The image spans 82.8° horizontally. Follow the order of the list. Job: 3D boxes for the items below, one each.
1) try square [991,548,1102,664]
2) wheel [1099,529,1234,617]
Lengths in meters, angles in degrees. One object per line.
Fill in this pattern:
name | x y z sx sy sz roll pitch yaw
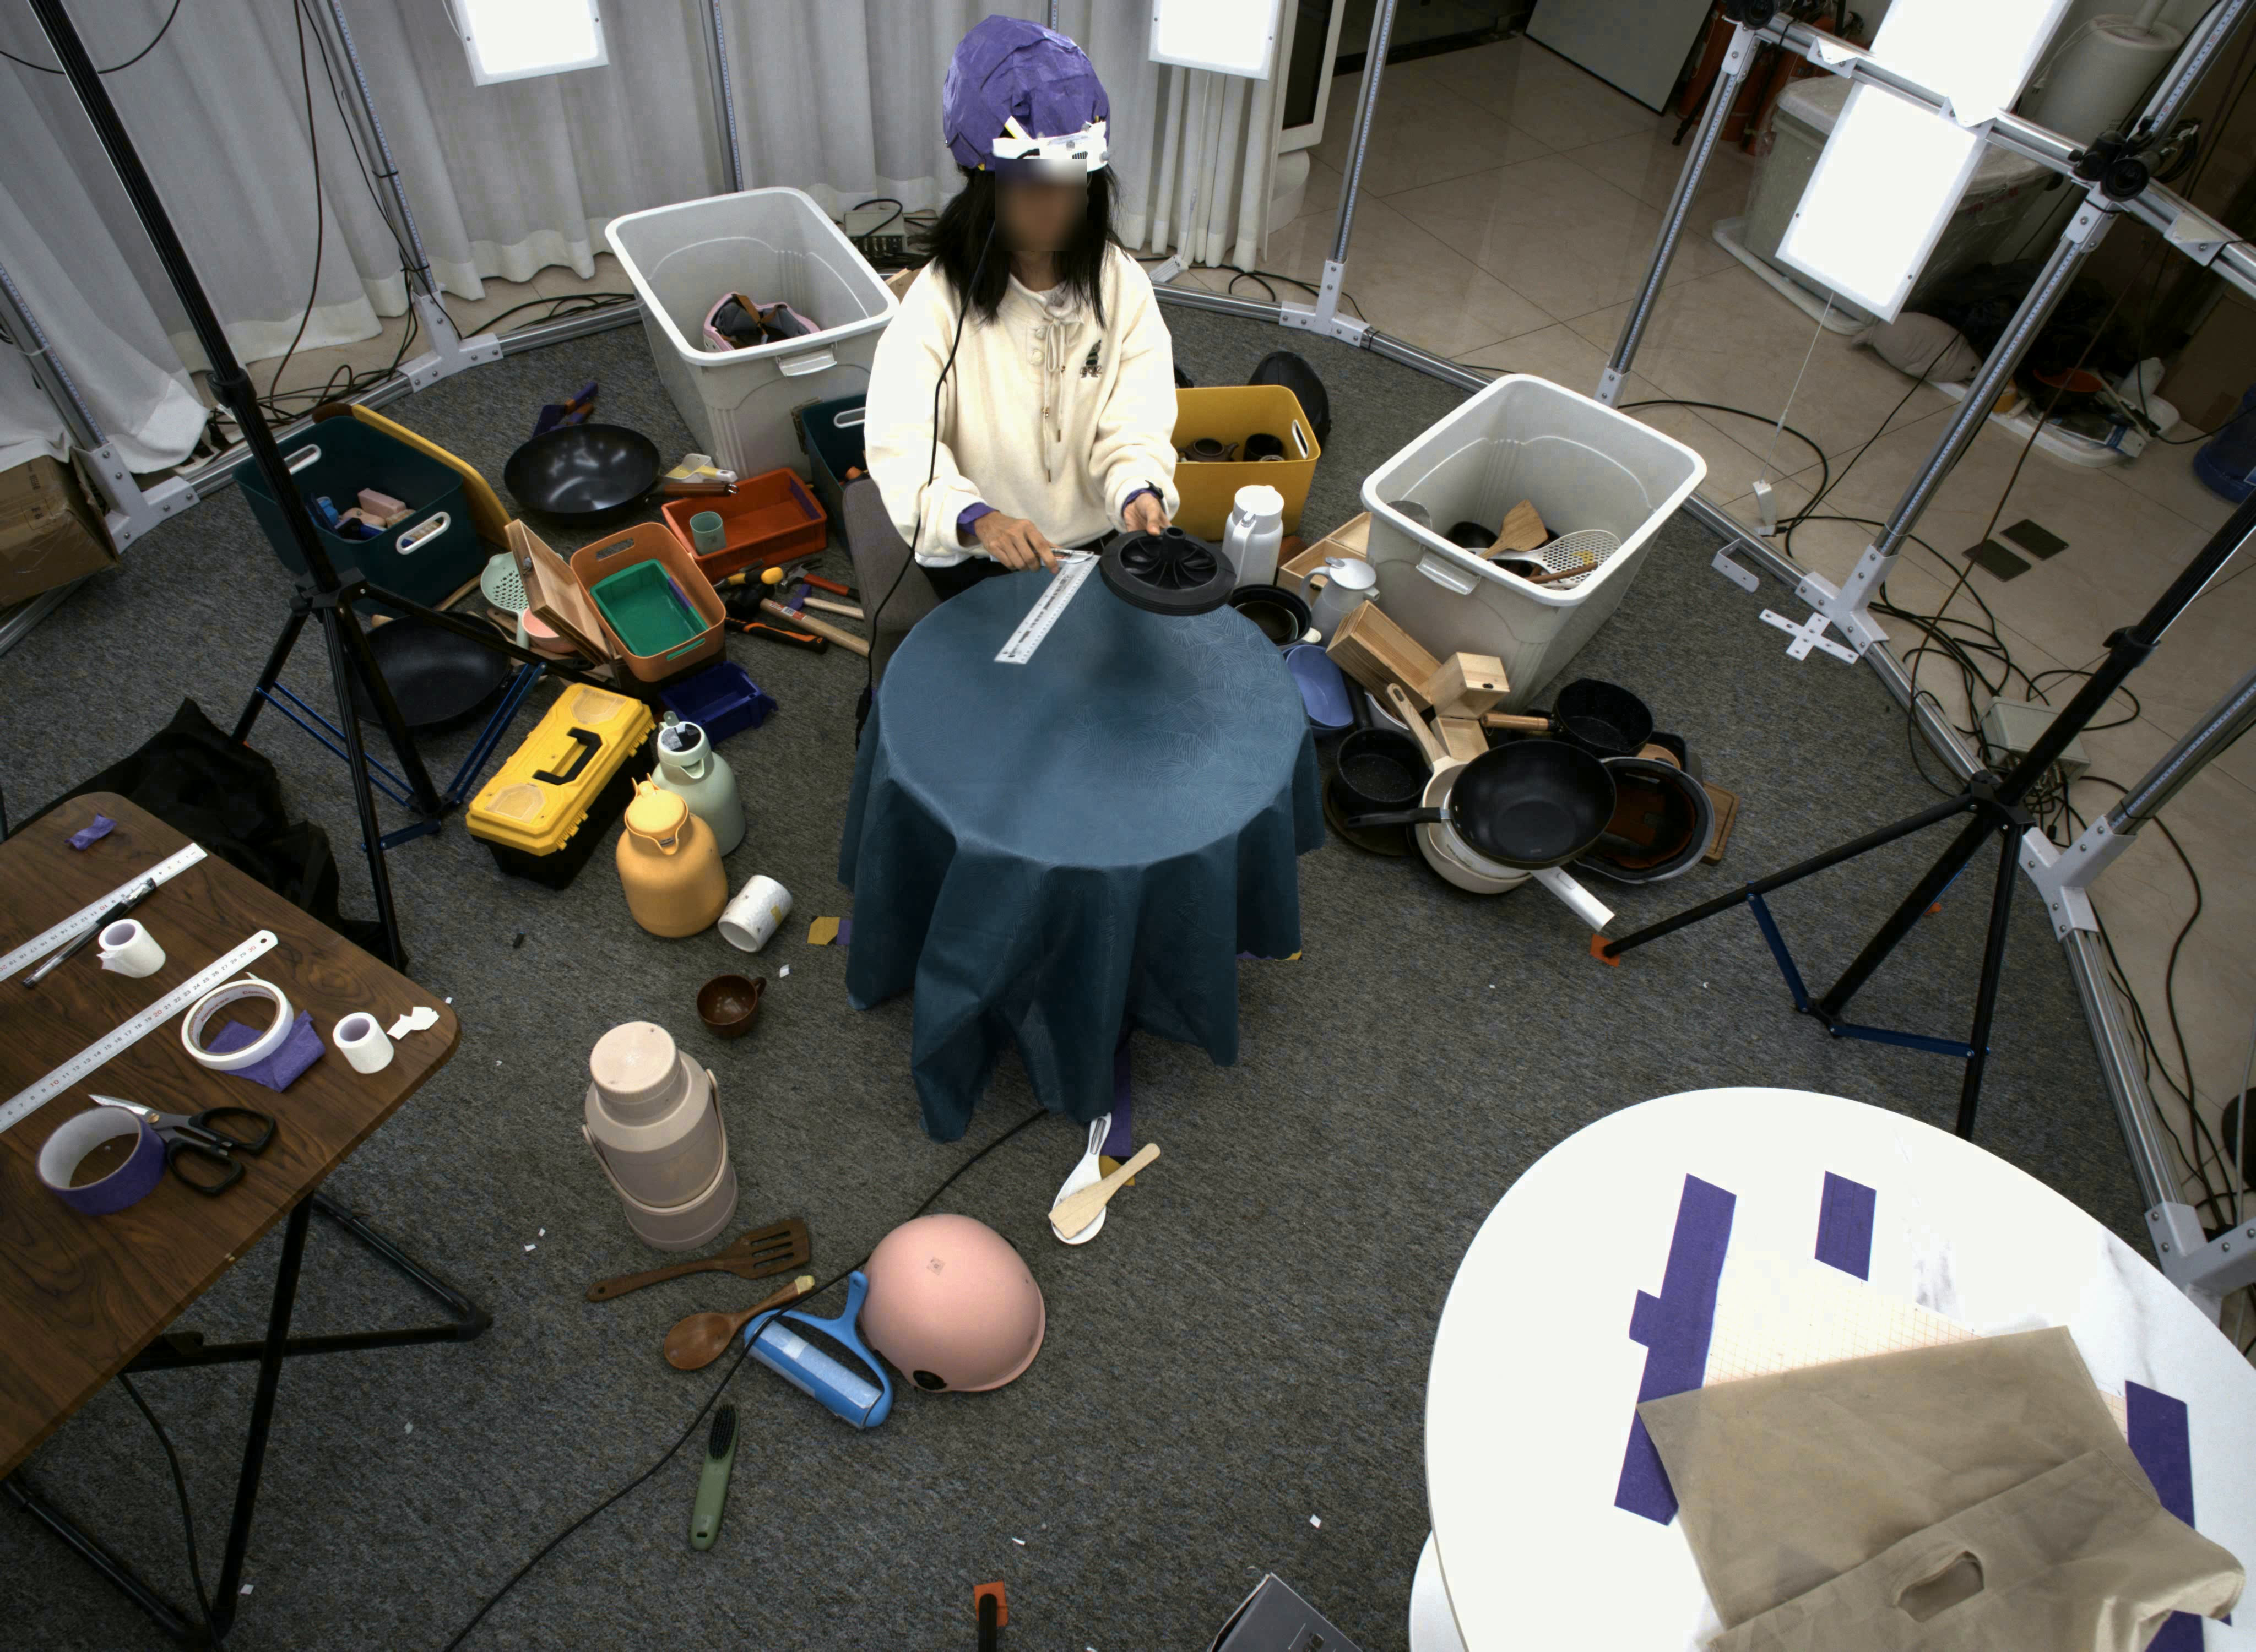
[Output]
try square | -0.151 -0.291 1.673 0.153 0.015 0.319 5 36 18
wheel | 0.057 -0.364 1.760 0.189 0.077 0.192 32 46 22
